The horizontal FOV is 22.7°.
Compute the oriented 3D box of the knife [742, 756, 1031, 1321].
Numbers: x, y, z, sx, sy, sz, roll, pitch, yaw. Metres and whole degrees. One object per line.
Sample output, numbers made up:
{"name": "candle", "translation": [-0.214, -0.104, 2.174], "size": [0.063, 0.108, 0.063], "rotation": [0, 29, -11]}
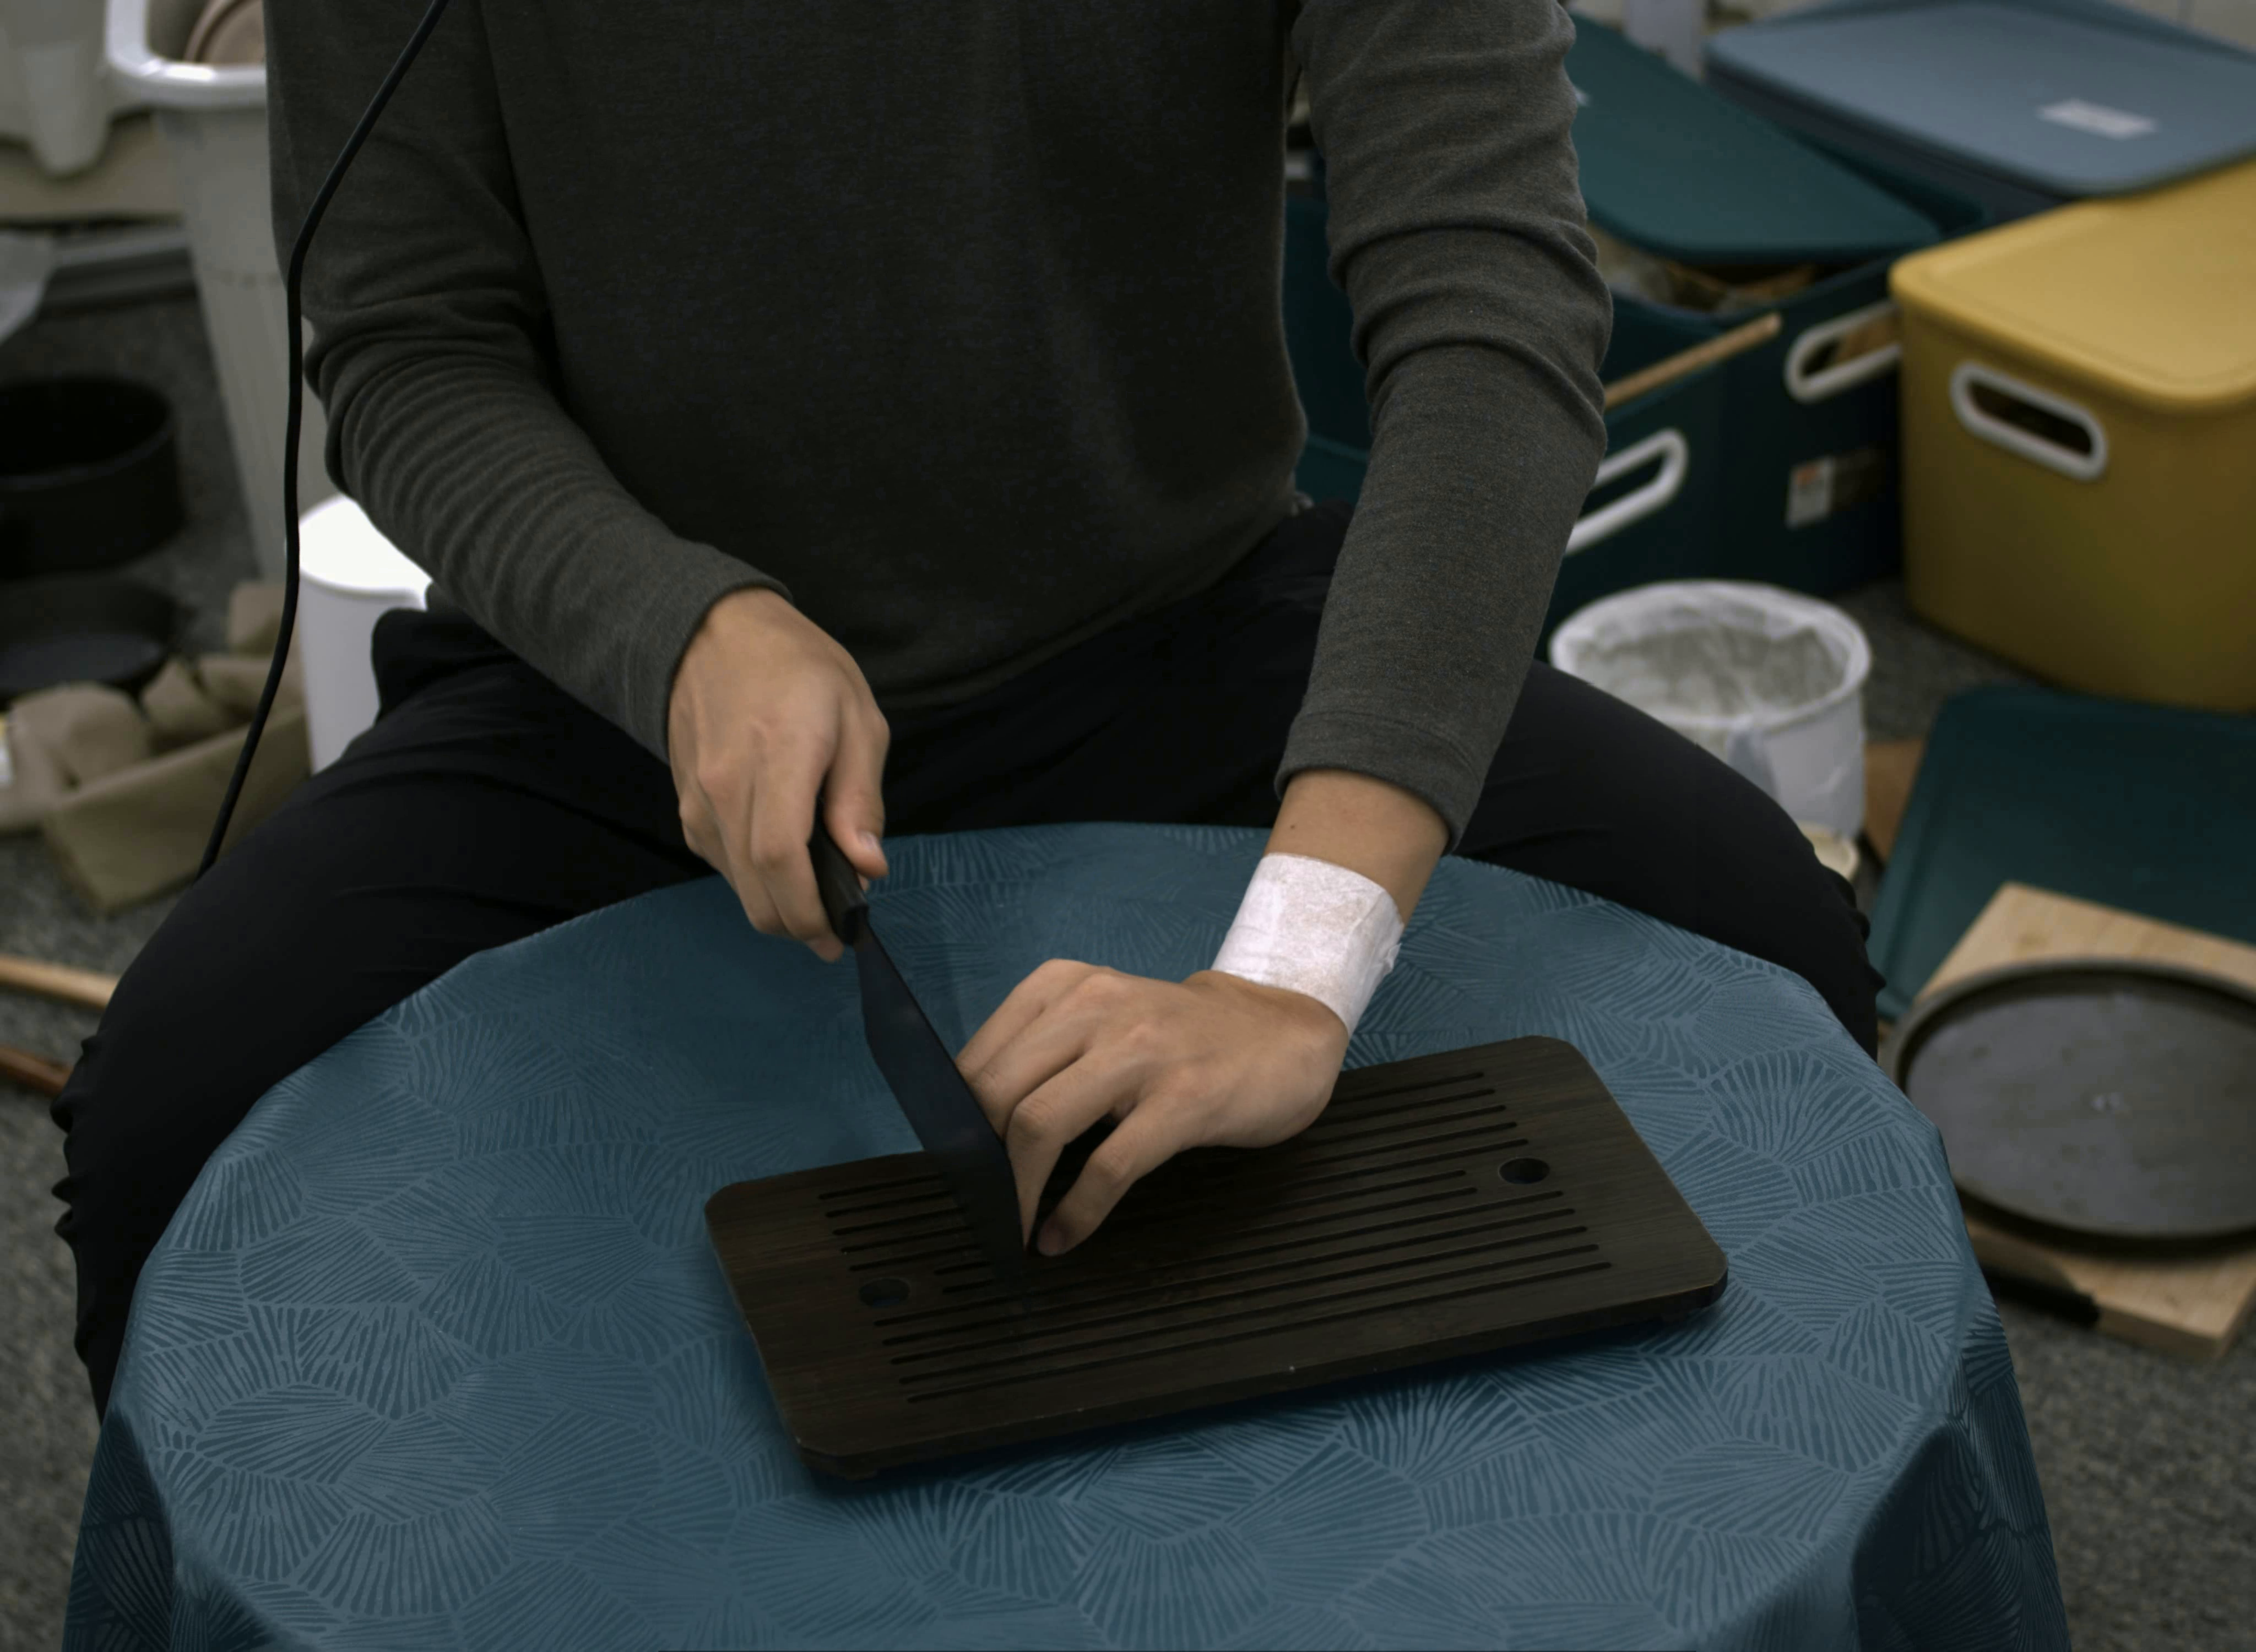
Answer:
{"name": "knife", "translation": [-0.080, 0.062, 1.862], "size": [0.021, 0.080, 0.306], "rotation": [-12, 34, -14]}

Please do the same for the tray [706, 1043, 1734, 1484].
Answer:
{"name": "tray", "translation": [0.027, 0.139, 1.805], "size": [0.306, 0.018, 0.172], "rotation": [-9, 27, -13]}
